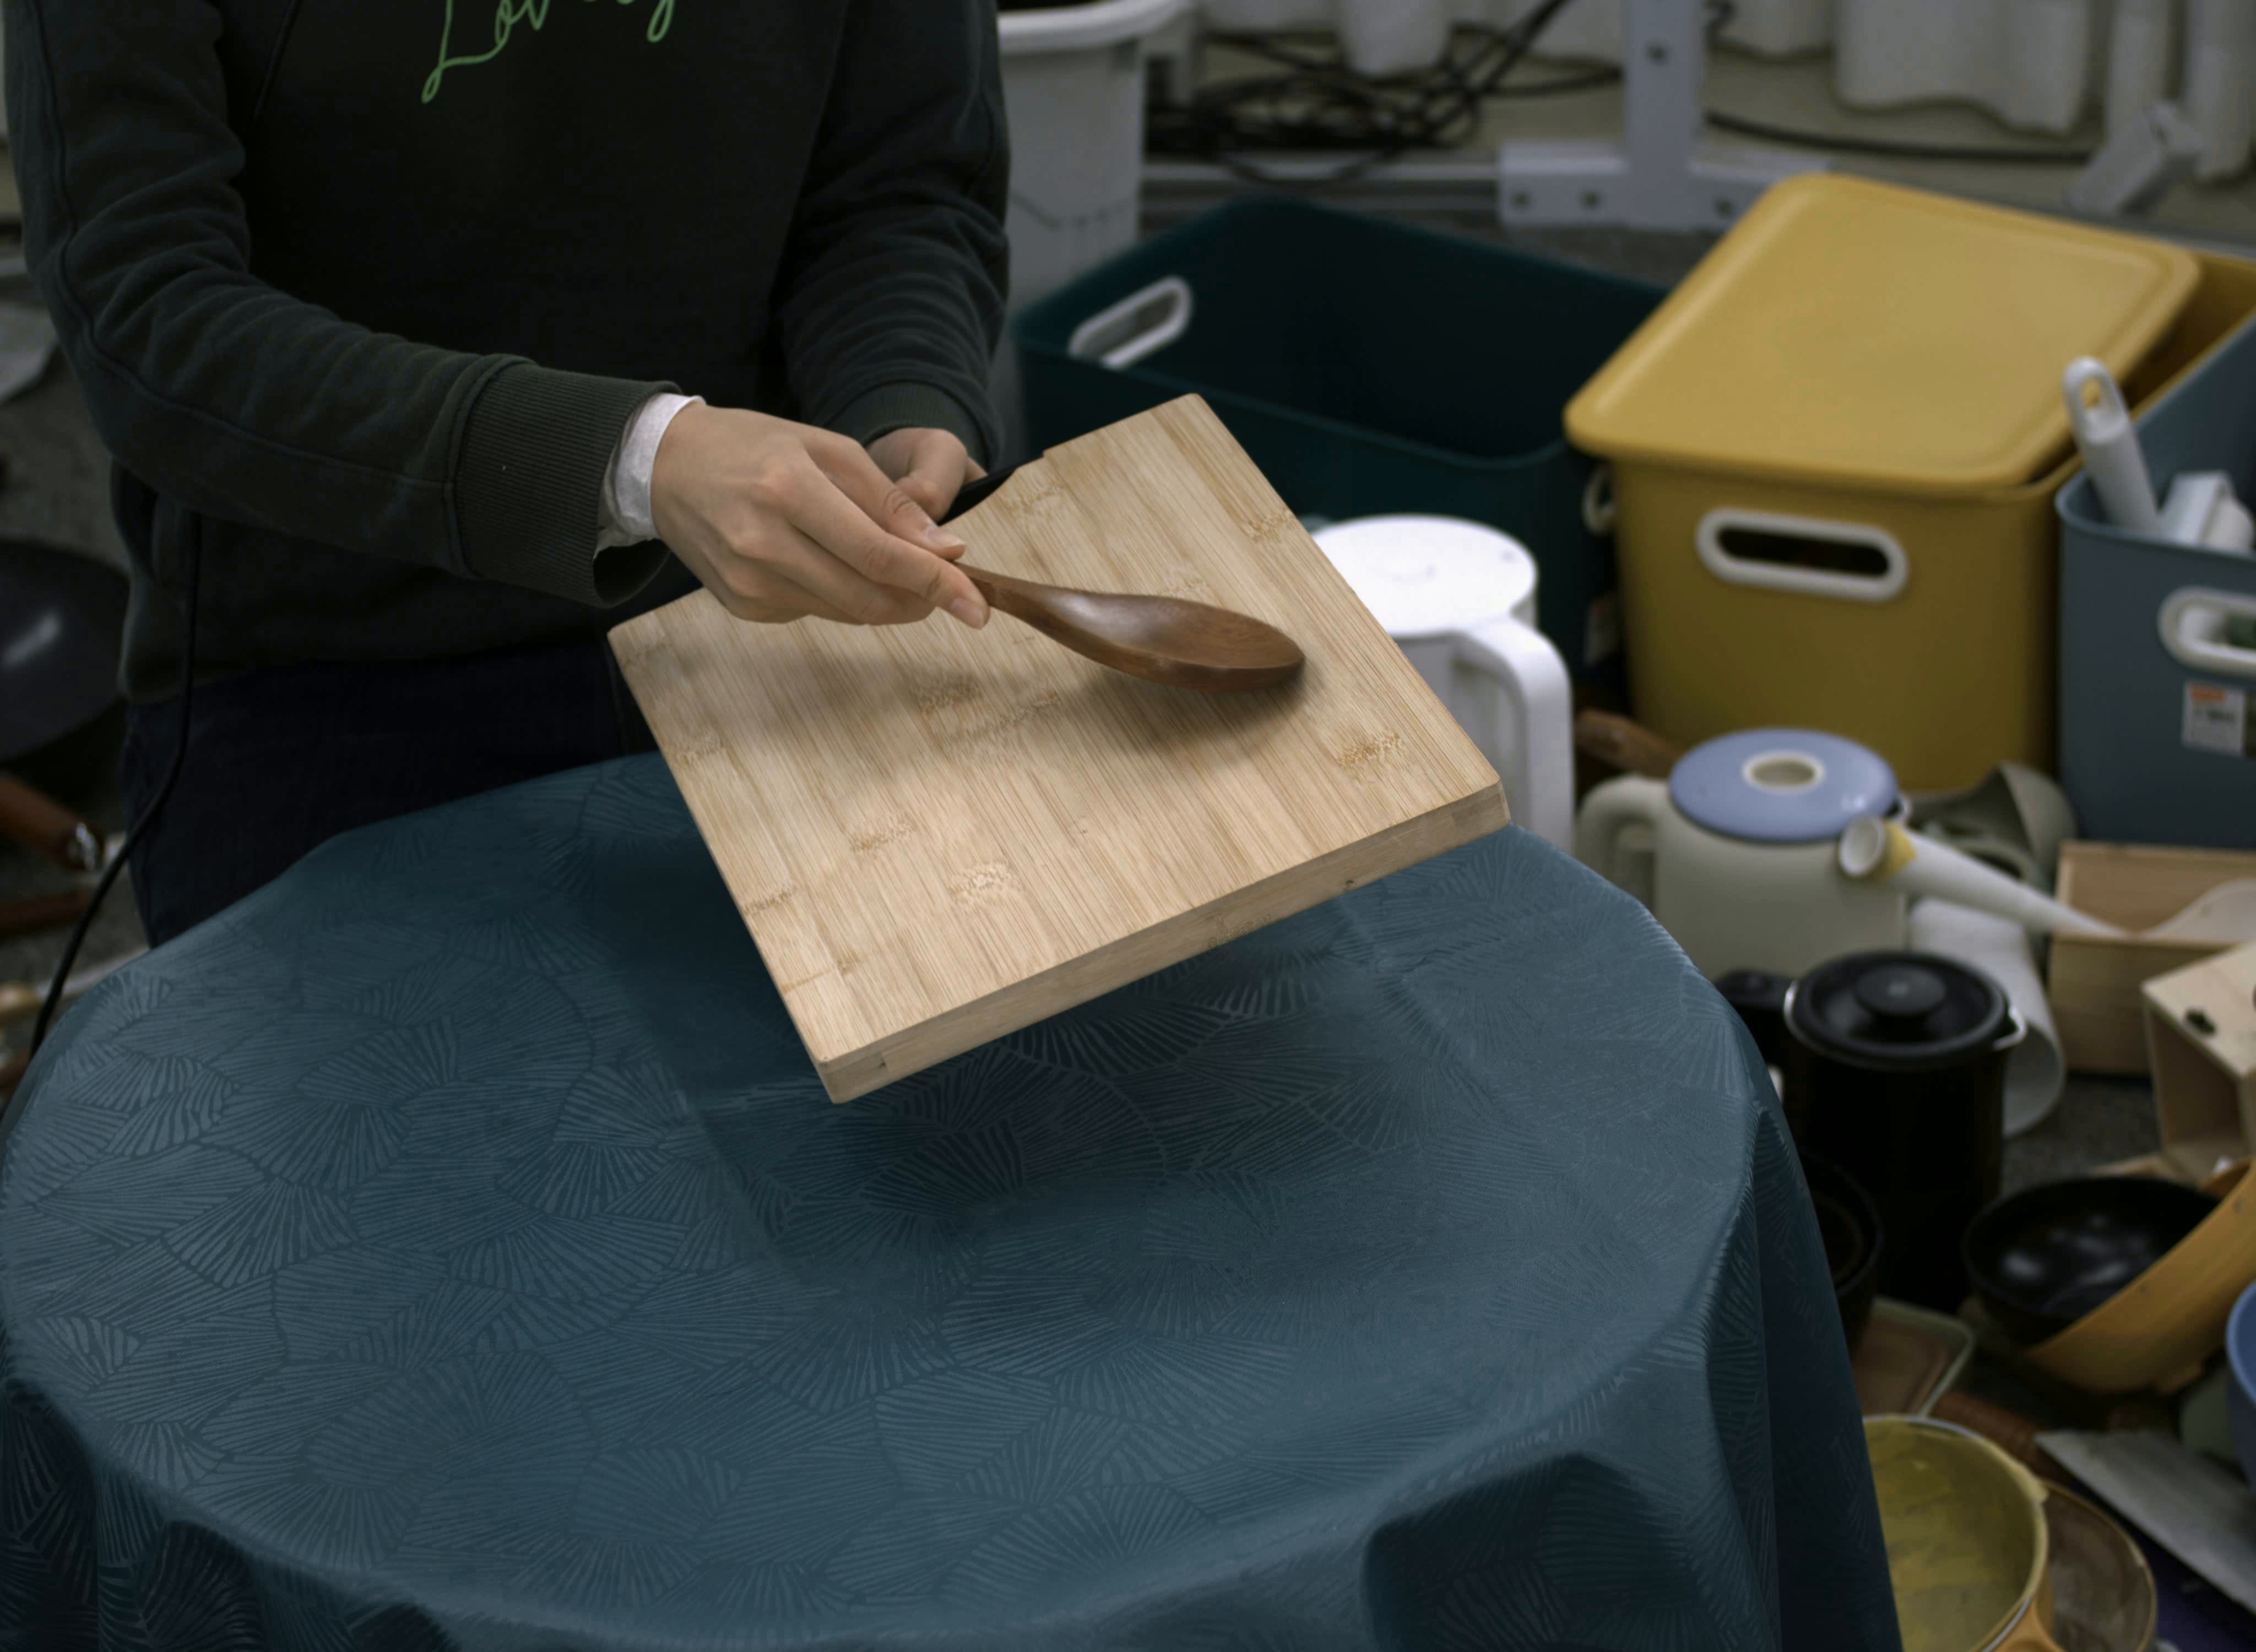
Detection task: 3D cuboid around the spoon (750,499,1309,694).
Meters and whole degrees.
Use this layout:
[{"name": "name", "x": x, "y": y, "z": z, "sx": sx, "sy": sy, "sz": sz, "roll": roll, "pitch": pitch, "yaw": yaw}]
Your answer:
[{"name": "spoon", "x": -0.037, "y": -0.078, "z": 1.930, "sx": 0.215, "sy": 0.017, "sz": 0.076, "roll": 18, "pitch": 21, "yaw": 25}]

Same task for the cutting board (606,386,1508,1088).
[{"name": "cutting board", "x": -0.034, "y": -0.038, "z": 1.955, "sx": 0.251, "sy": 0.023, "sz": 0.352, "roll": -22, "pitch": 30, "yaw": -8}]
